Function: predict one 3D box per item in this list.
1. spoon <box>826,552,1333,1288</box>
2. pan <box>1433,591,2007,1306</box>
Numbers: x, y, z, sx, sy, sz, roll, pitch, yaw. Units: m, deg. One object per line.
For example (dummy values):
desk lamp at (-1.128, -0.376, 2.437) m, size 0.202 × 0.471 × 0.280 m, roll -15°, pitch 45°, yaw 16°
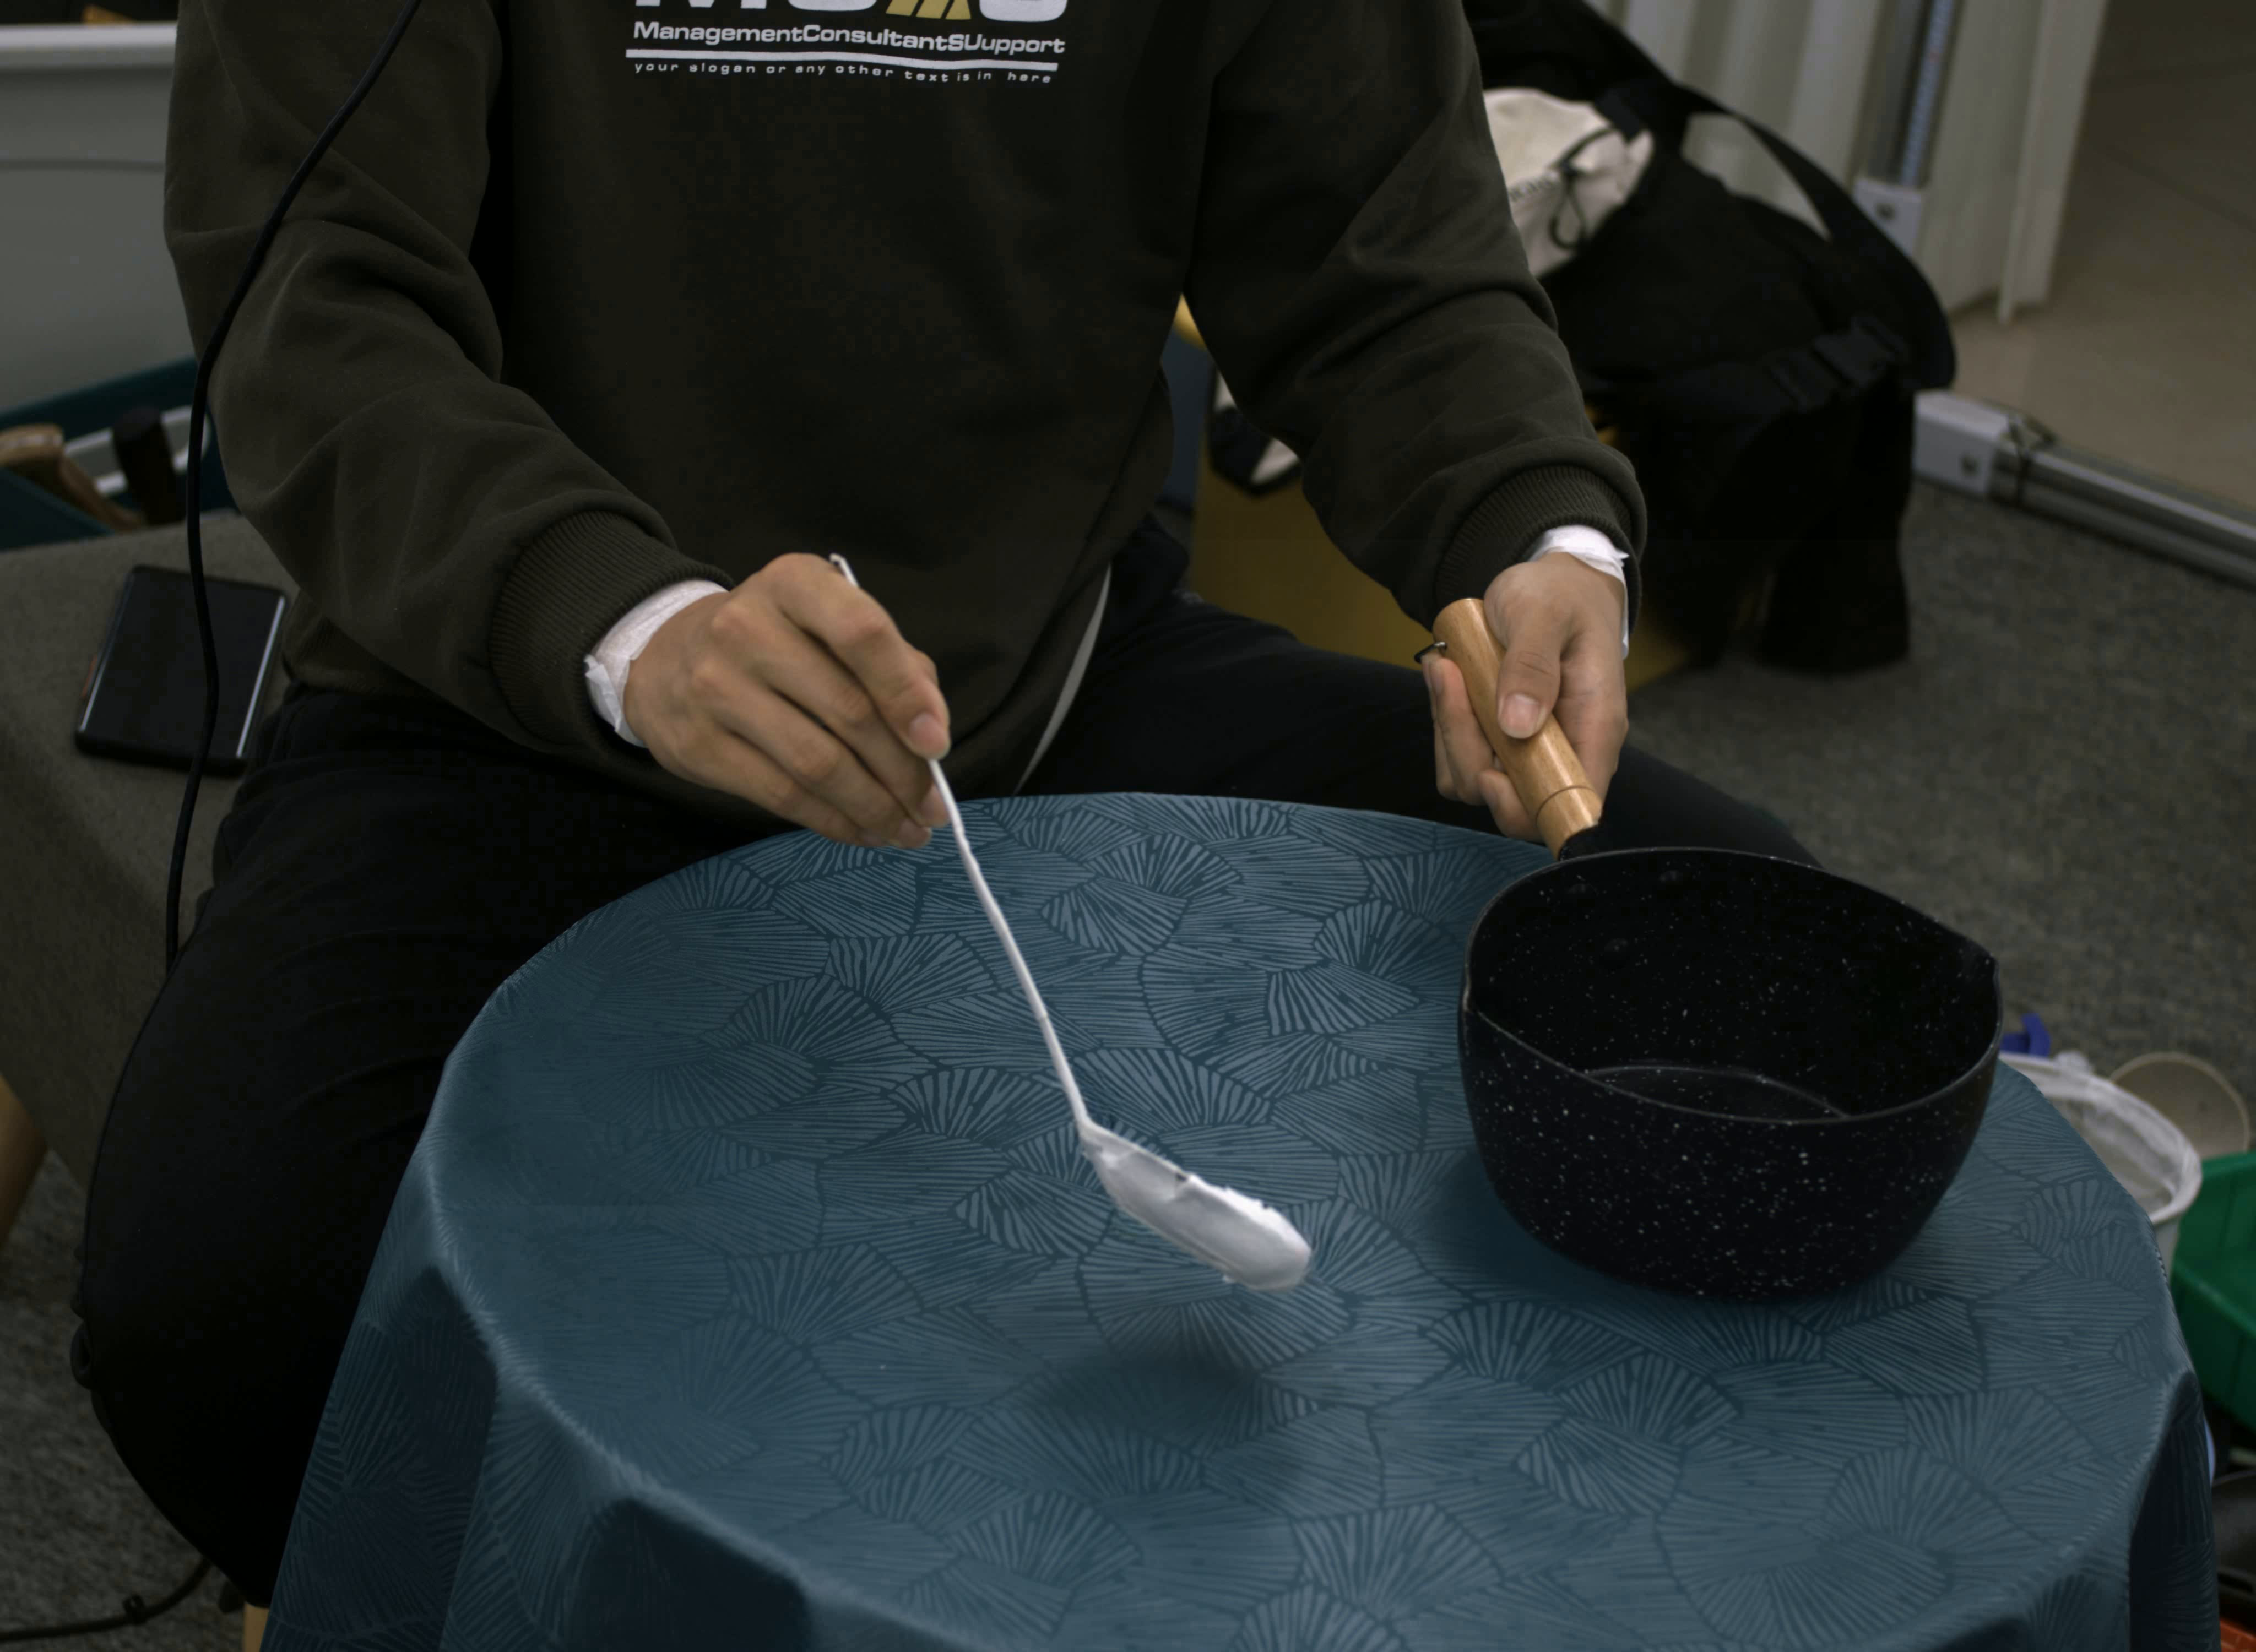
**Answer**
spoon at (-0.017, 0.029, 1.701) m, size 0.059 × 0.278 × 0.100 m, roll -23°, pitch -8°, yaw -7°
pan at (0.176, 0.040, 1.883) m, size 0.206 × 0.108 × 0.346 m, roll -7°, pitch 32°, yaw -19°
